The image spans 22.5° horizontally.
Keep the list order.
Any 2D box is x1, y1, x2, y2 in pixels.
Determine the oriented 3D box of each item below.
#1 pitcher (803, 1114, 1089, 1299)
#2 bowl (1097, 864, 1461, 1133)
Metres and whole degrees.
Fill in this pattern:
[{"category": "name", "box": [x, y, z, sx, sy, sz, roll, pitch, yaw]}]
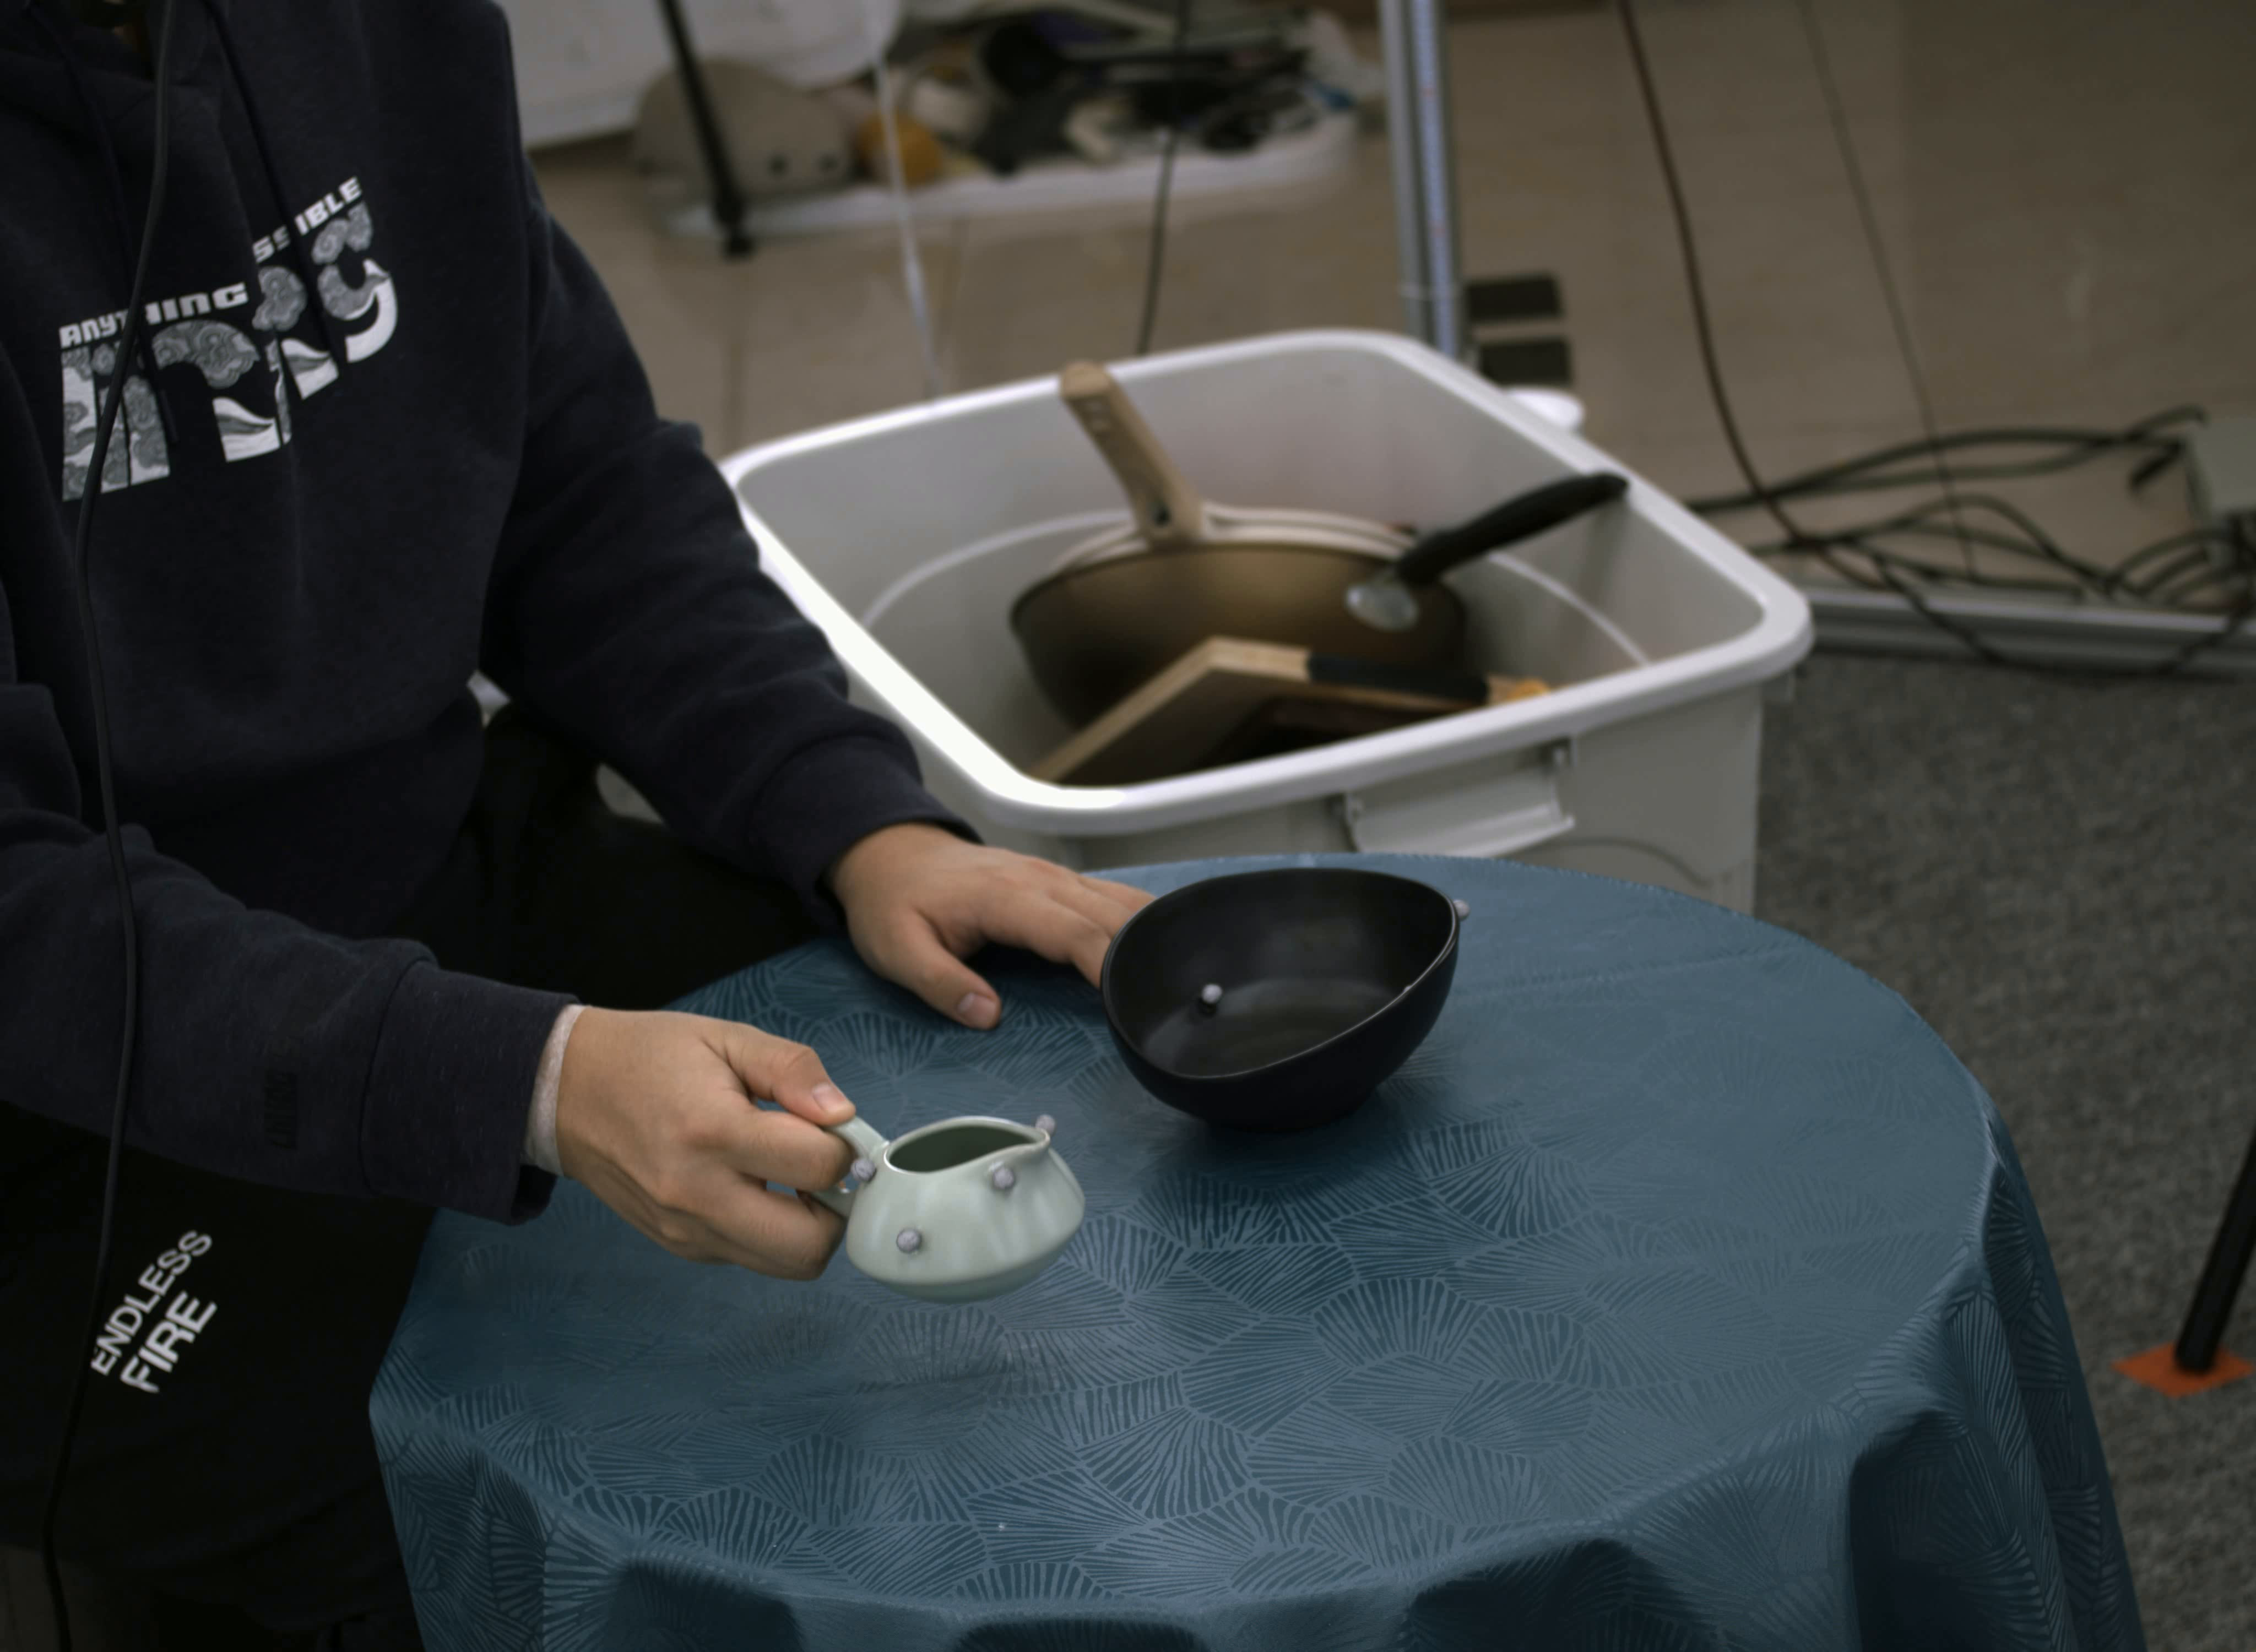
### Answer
[{"category": "pitcher", "box": [-0.068, 0.131, 2.005, 0.108, 0.061, 0.085, 0, 22, 30]}, {"category": "bowl", "box": [0.061, 0.075, 2.197, 0.137, 0.068, 0.168, 3, 27, 22]}]
